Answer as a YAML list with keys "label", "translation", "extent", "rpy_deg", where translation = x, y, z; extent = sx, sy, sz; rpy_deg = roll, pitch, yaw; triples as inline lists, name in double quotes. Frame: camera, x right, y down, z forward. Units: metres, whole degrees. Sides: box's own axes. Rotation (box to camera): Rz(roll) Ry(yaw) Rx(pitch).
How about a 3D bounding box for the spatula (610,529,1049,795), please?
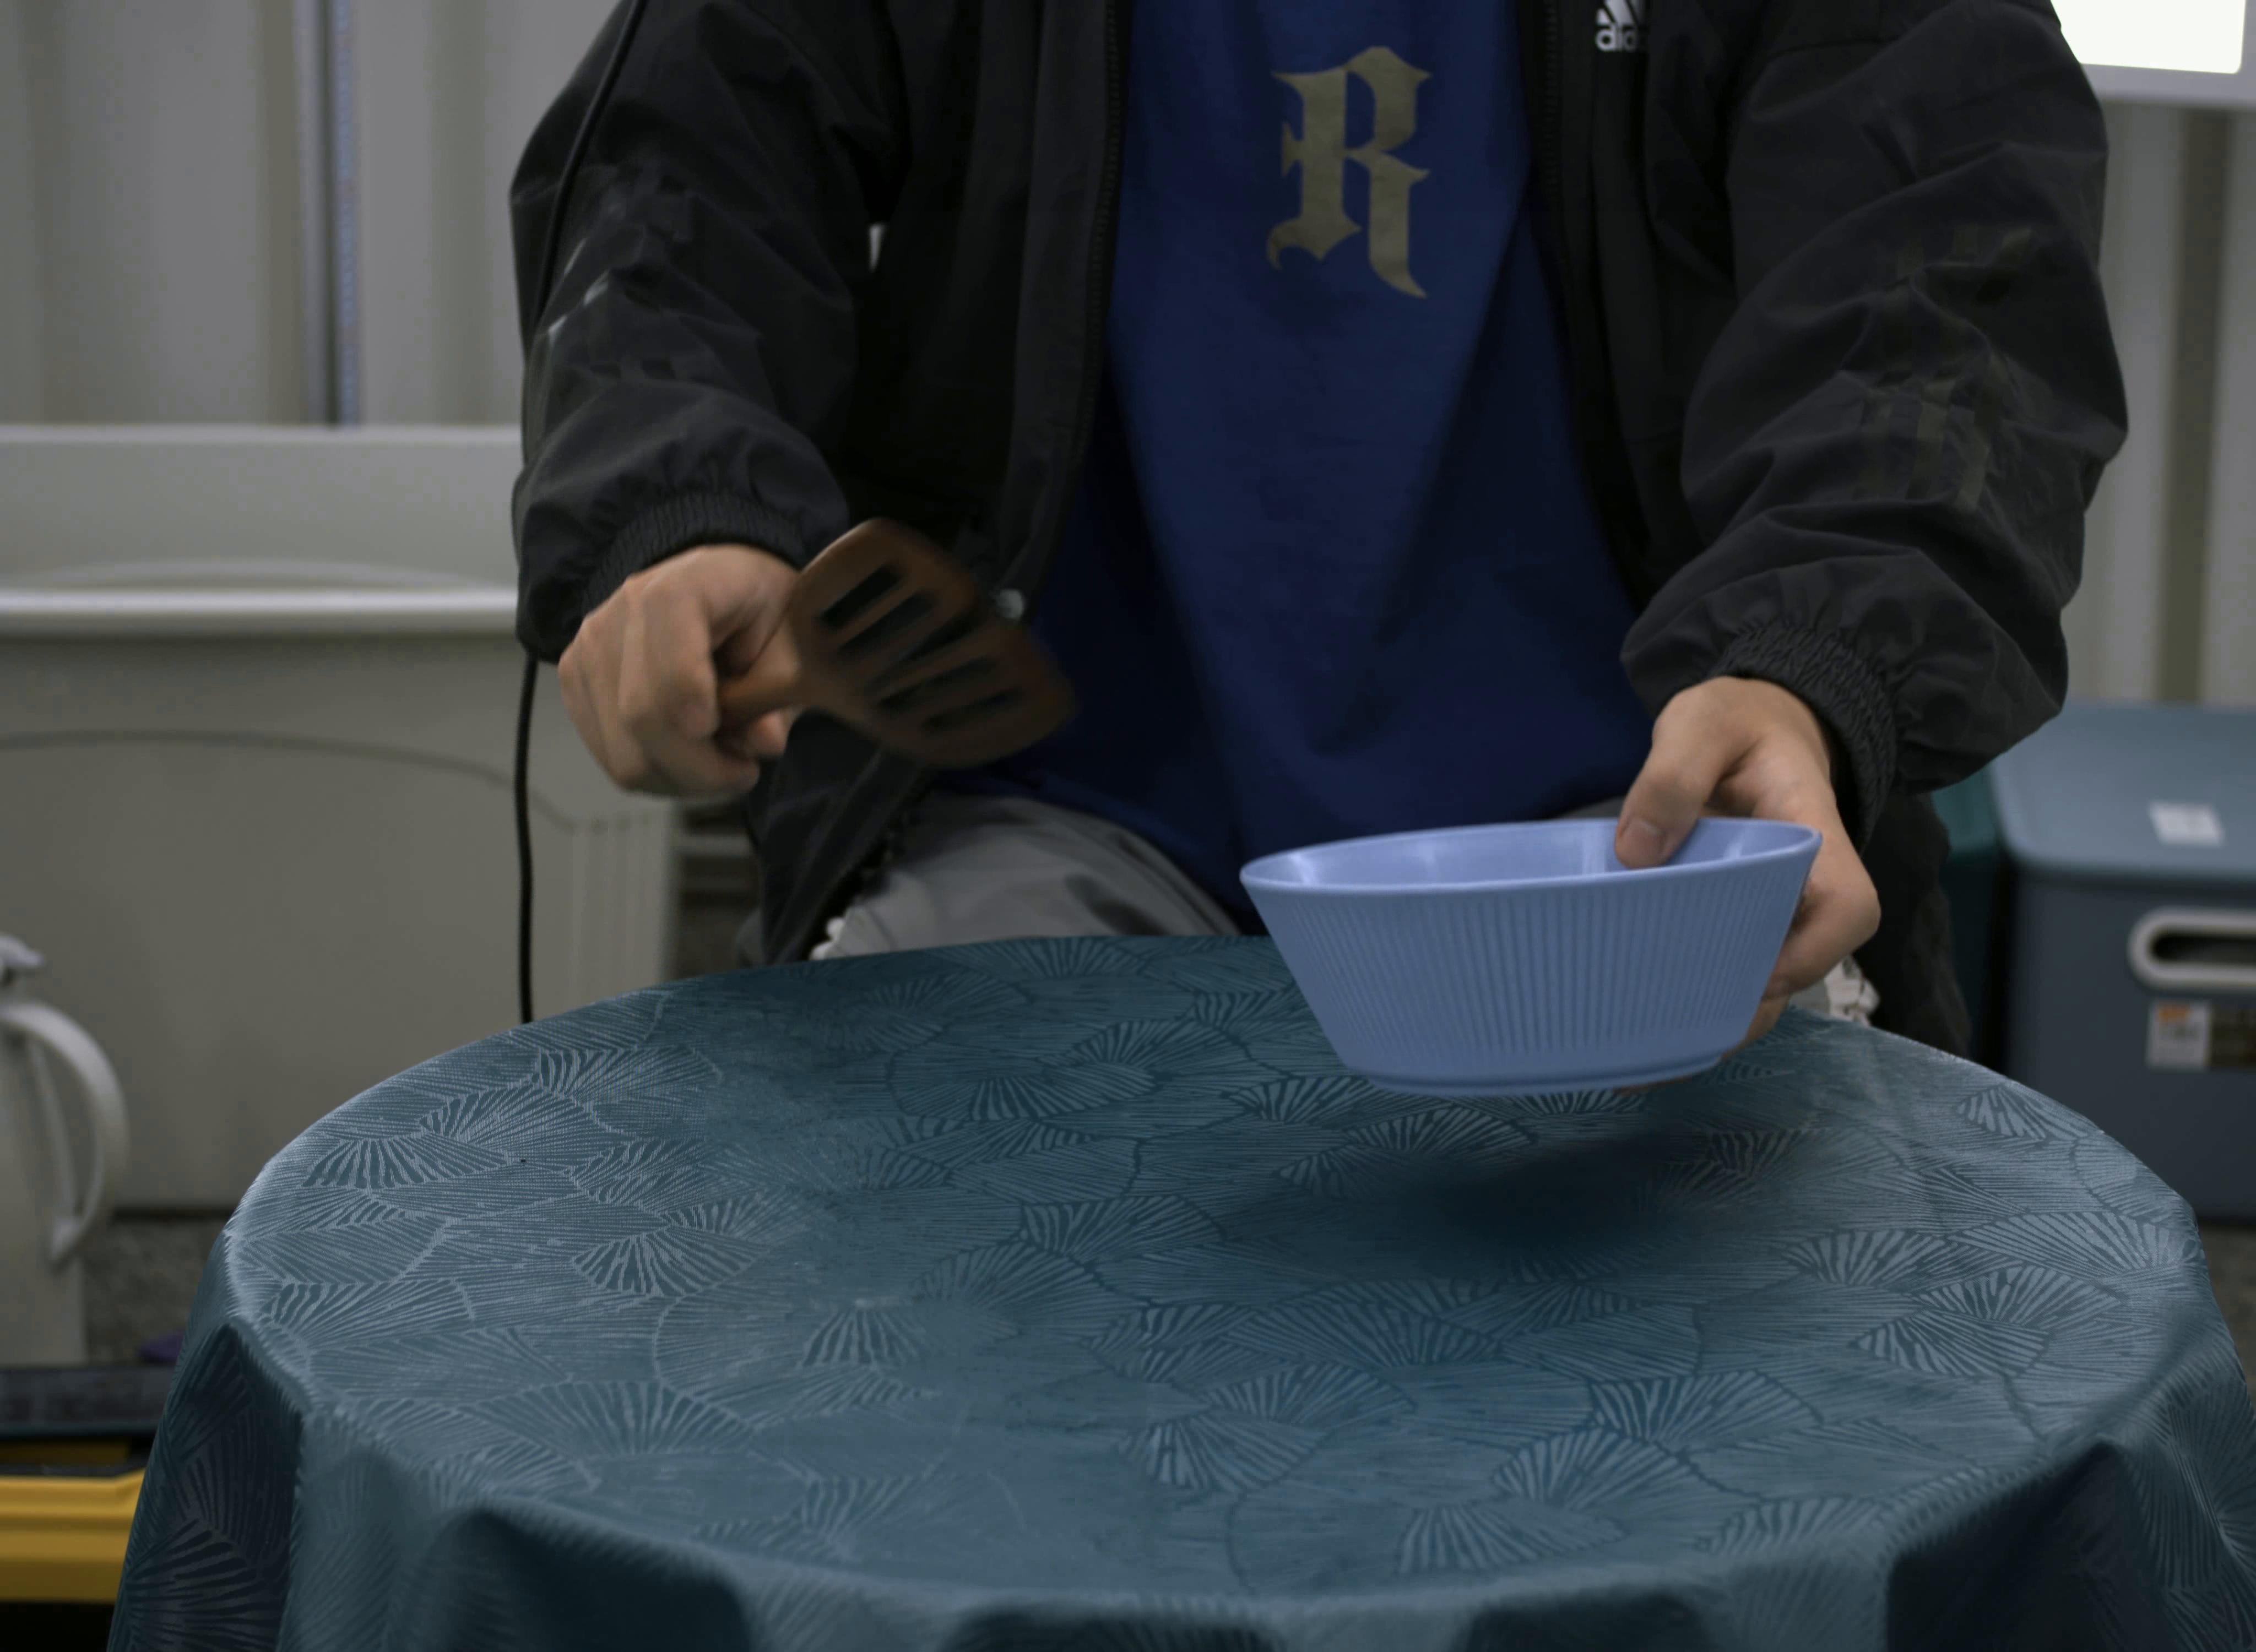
- label: "spatula"
  translation: [-0.113, -0.036, 1.654]
  extent: [0.024, 0.086, 0.385]
  rpy_deg: [-51, 11, -15]

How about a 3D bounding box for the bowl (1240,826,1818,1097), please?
- label: "bowl"
  translation: [0.123, 0.041, 1.590]
  extent: [0.175, 0.070, 0.176]
  rpy_deg: [-4, 3, 1]
